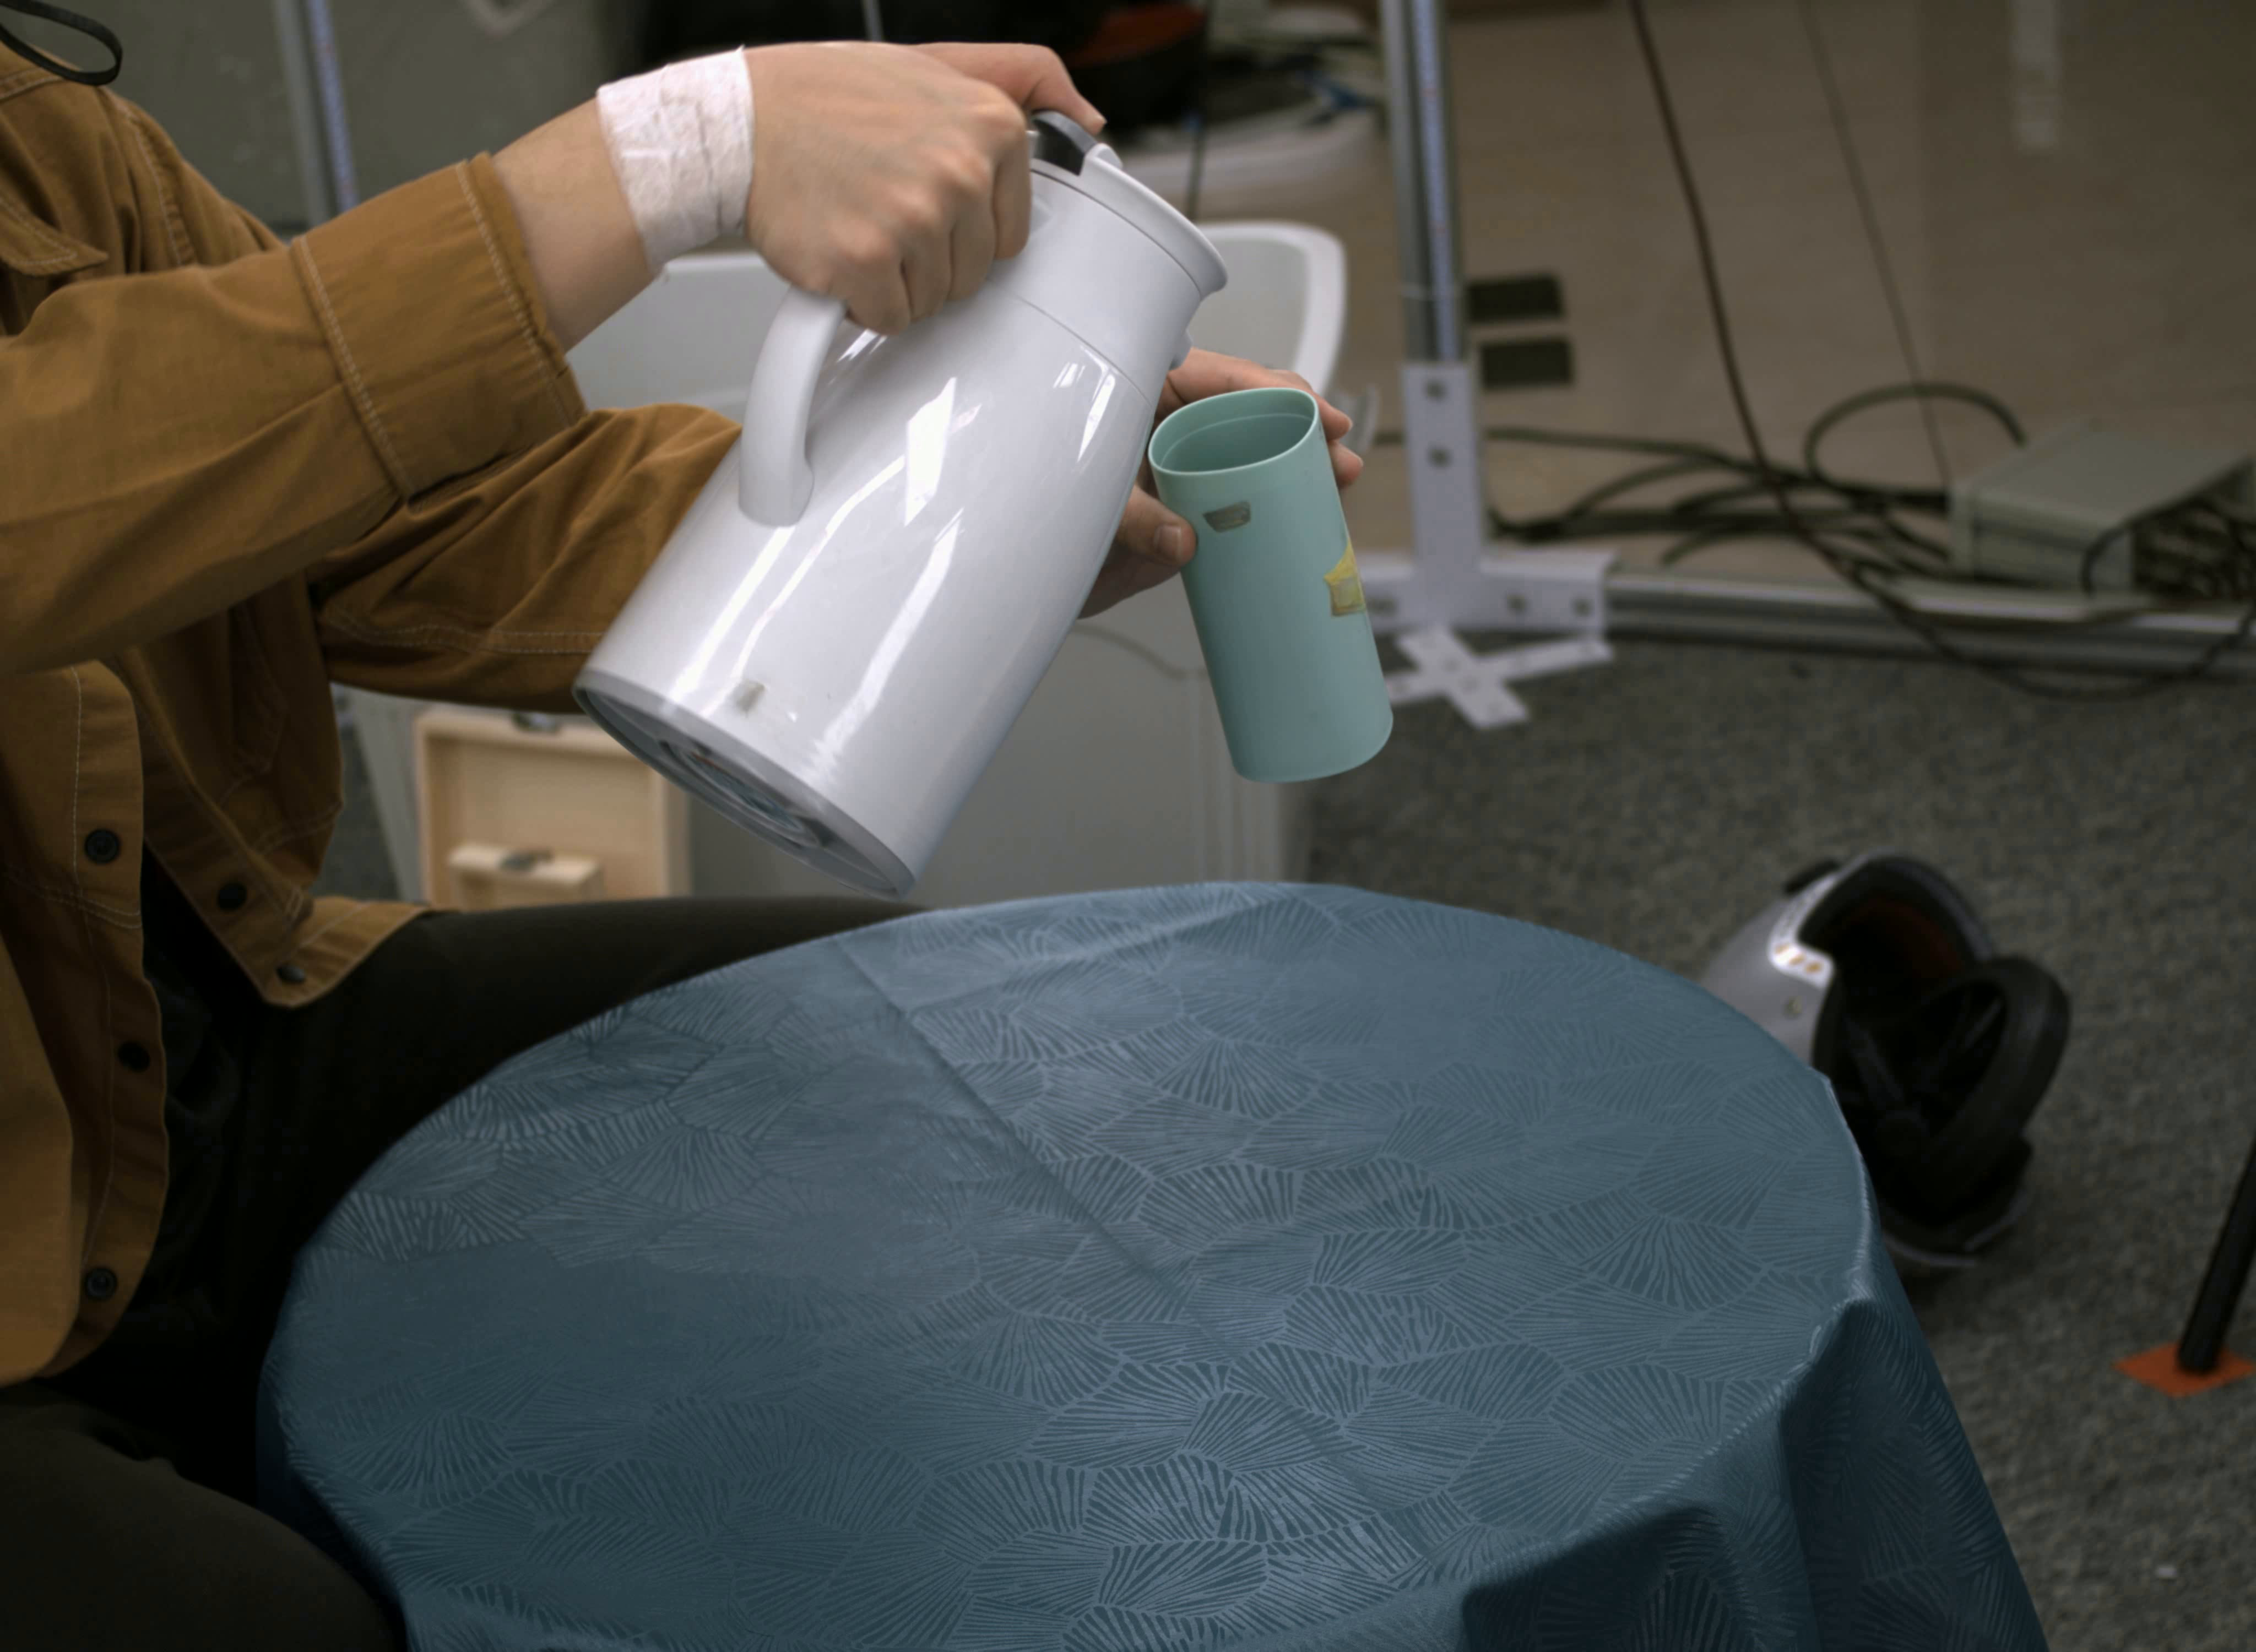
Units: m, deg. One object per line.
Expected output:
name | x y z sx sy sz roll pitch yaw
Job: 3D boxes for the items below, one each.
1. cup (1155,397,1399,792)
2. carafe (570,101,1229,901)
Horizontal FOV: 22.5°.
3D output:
cup | 0.054 -0.084 2.054 0.066 0.134 0.065 -11 31 7
carafe | -0.073 -0.121 1.889 0.131 0.170 0.247 26 79 36
